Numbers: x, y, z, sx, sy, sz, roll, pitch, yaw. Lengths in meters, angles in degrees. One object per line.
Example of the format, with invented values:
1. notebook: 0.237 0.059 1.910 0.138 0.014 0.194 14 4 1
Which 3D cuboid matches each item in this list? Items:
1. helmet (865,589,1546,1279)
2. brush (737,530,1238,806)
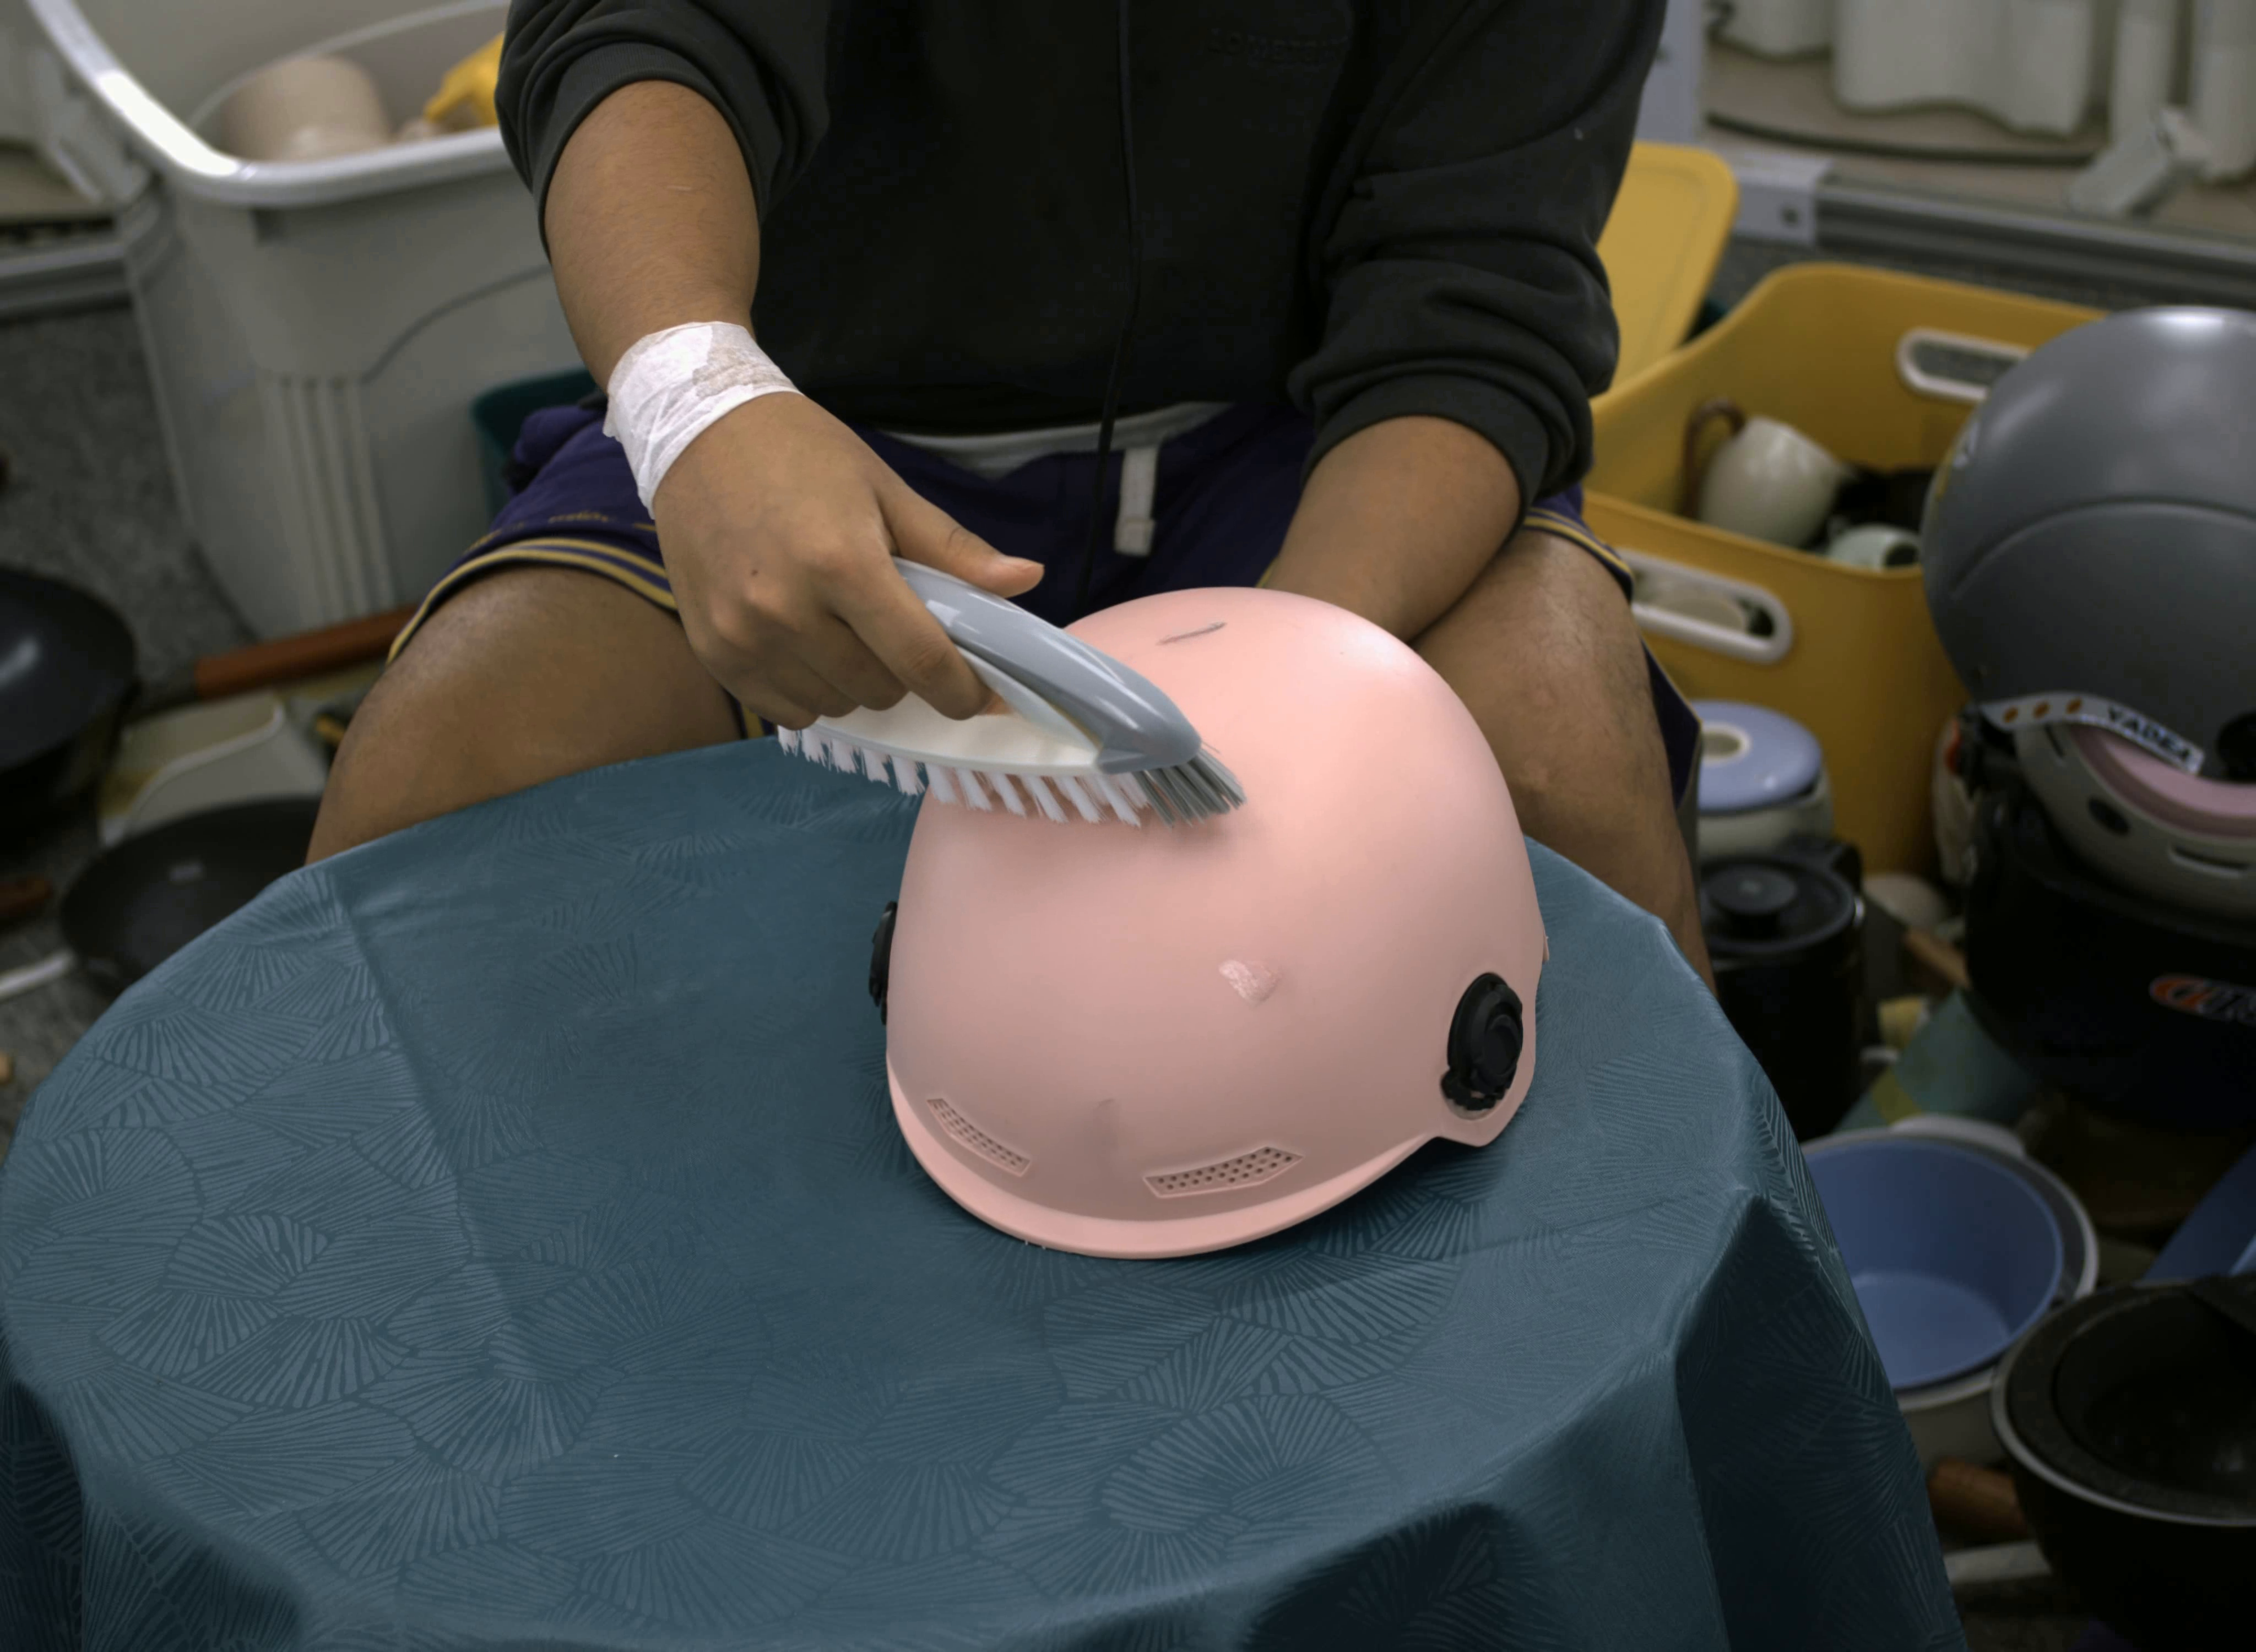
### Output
1. helmet: 0.024 0.016 1.899 0.232 0.157 0.271 7 36 18
2. brush: -0.050 -0.054 1.820 0.175 0.093 0.062 18 68 30
